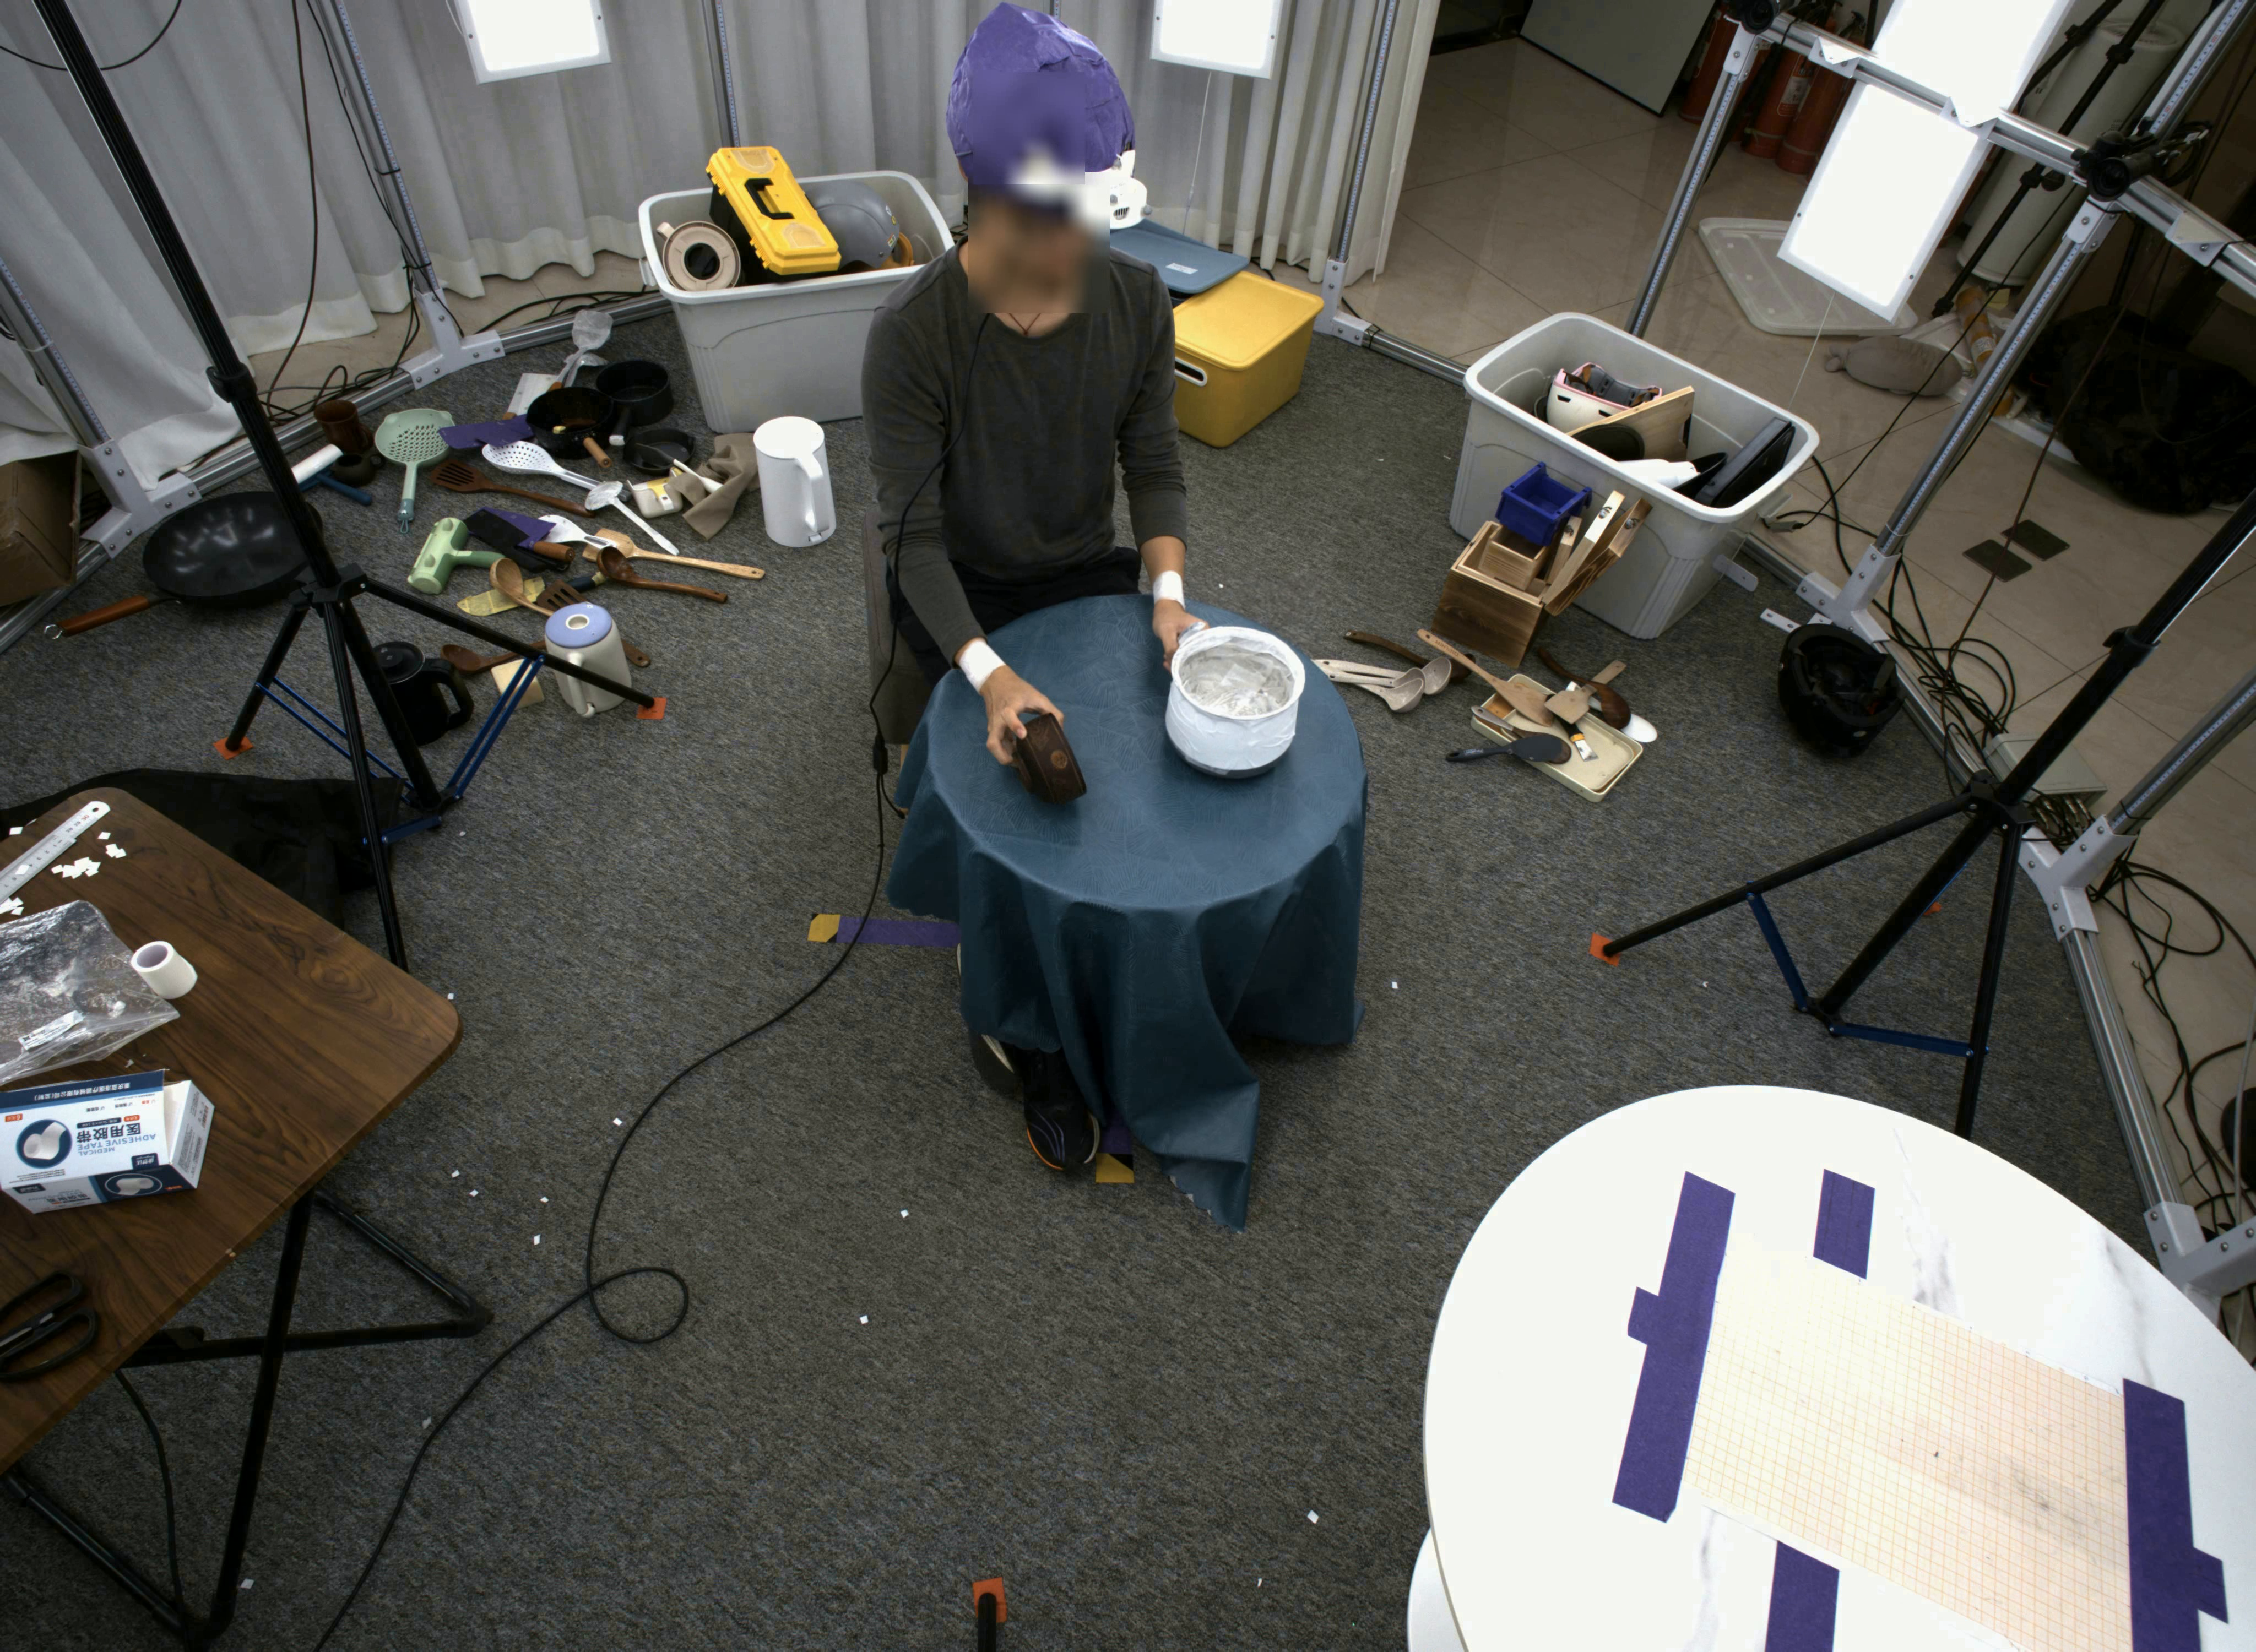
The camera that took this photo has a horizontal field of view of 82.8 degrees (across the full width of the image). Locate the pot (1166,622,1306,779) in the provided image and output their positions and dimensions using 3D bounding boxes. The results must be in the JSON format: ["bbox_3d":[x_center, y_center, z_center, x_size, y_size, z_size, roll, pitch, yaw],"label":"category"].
[{"bbox_3d":[0.128,-0.181,1.746,0.179,0.133,0.239,-21,53,-21],"label":"pot"}]

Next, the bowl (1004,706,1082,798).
[{"bbox_3d":[-0.116,-0.088,1.650,0.070,0.115,0.120,-27,56,-12],"label":"bowl"}]
